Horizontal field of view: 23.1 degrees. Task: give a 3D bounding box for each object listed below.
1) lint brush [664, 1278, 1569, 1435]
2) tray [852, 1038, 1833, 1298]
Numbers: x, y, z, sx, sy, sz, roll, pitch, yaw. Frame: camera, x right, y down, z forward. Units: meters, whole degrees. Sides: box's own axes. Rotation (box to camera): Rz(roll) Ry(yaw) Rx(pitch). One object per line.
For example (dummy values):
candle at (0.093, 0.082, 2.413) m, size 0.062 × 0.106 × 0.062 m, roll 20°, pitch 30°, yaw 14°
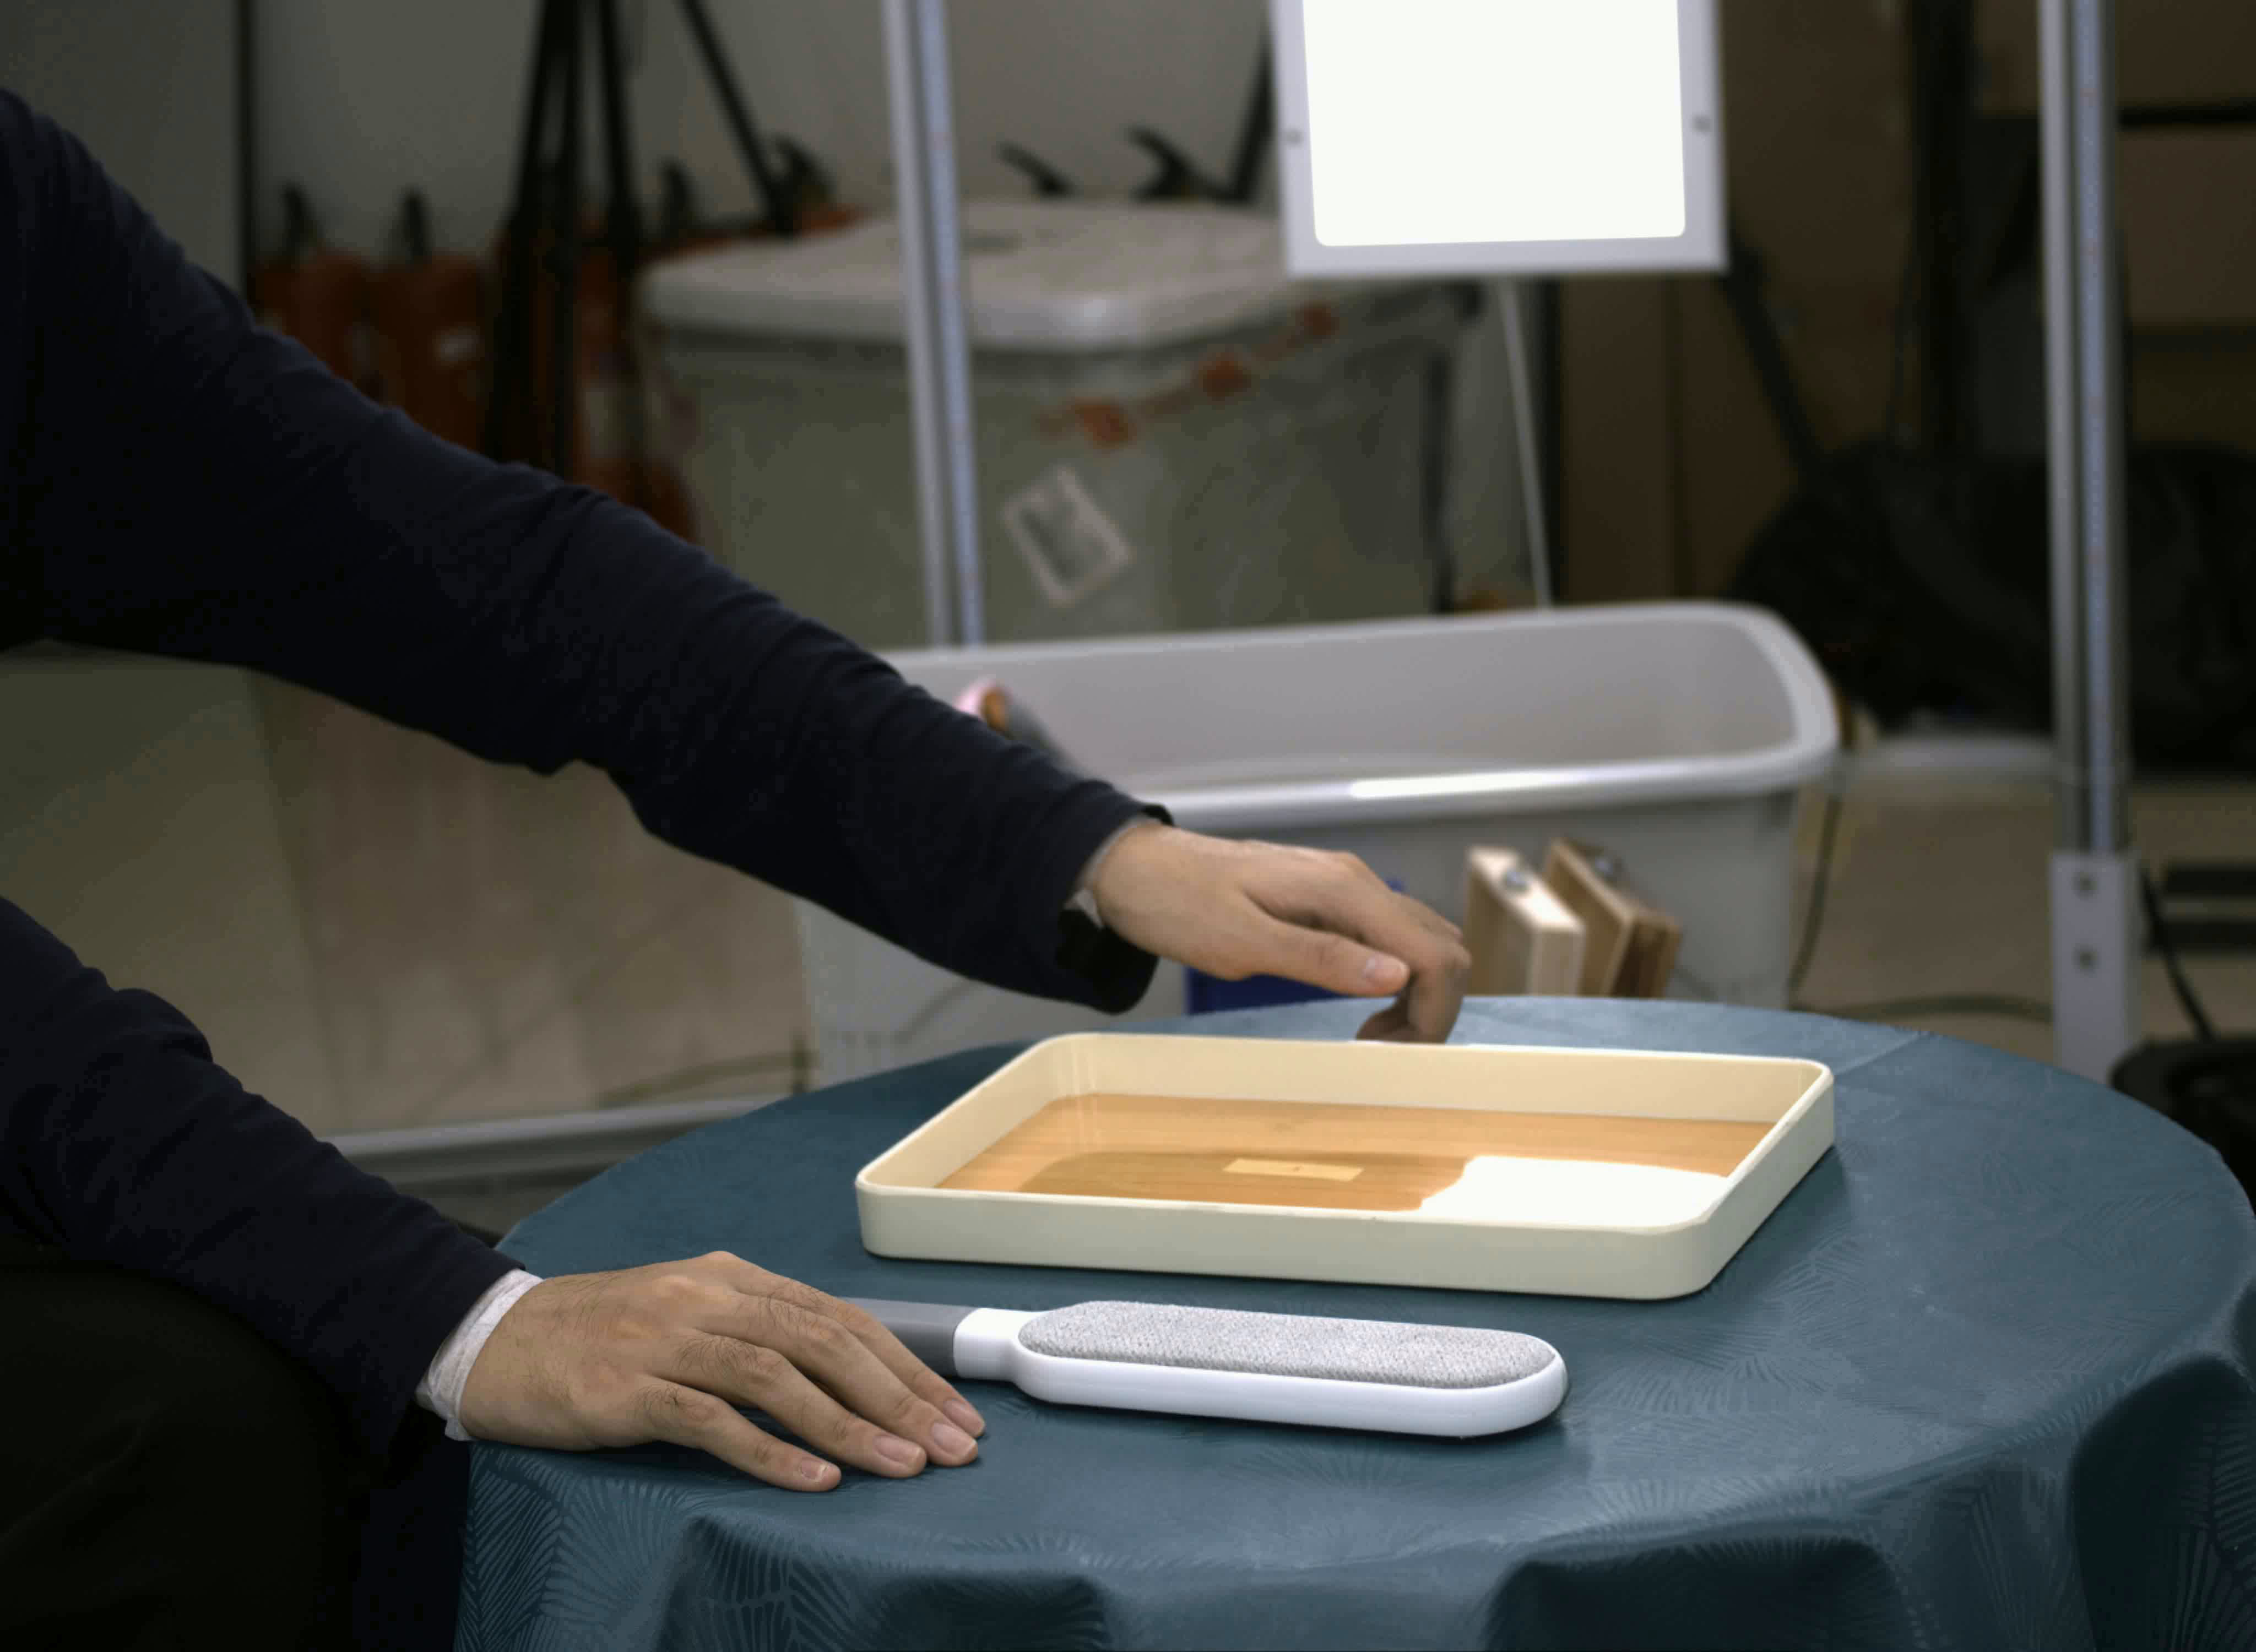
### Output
lint brush at (-0.009, 0.161, 1.711) m, size 0.314 × 0.021 × 0.059 m, roll 2°, pitch 21°, yaw 28°
tray at (0.075, 0.114, 1.873) m, size 0.305 × 0.027 × 0.188 m, roll 1°, pitch 14°, yaw 25°
